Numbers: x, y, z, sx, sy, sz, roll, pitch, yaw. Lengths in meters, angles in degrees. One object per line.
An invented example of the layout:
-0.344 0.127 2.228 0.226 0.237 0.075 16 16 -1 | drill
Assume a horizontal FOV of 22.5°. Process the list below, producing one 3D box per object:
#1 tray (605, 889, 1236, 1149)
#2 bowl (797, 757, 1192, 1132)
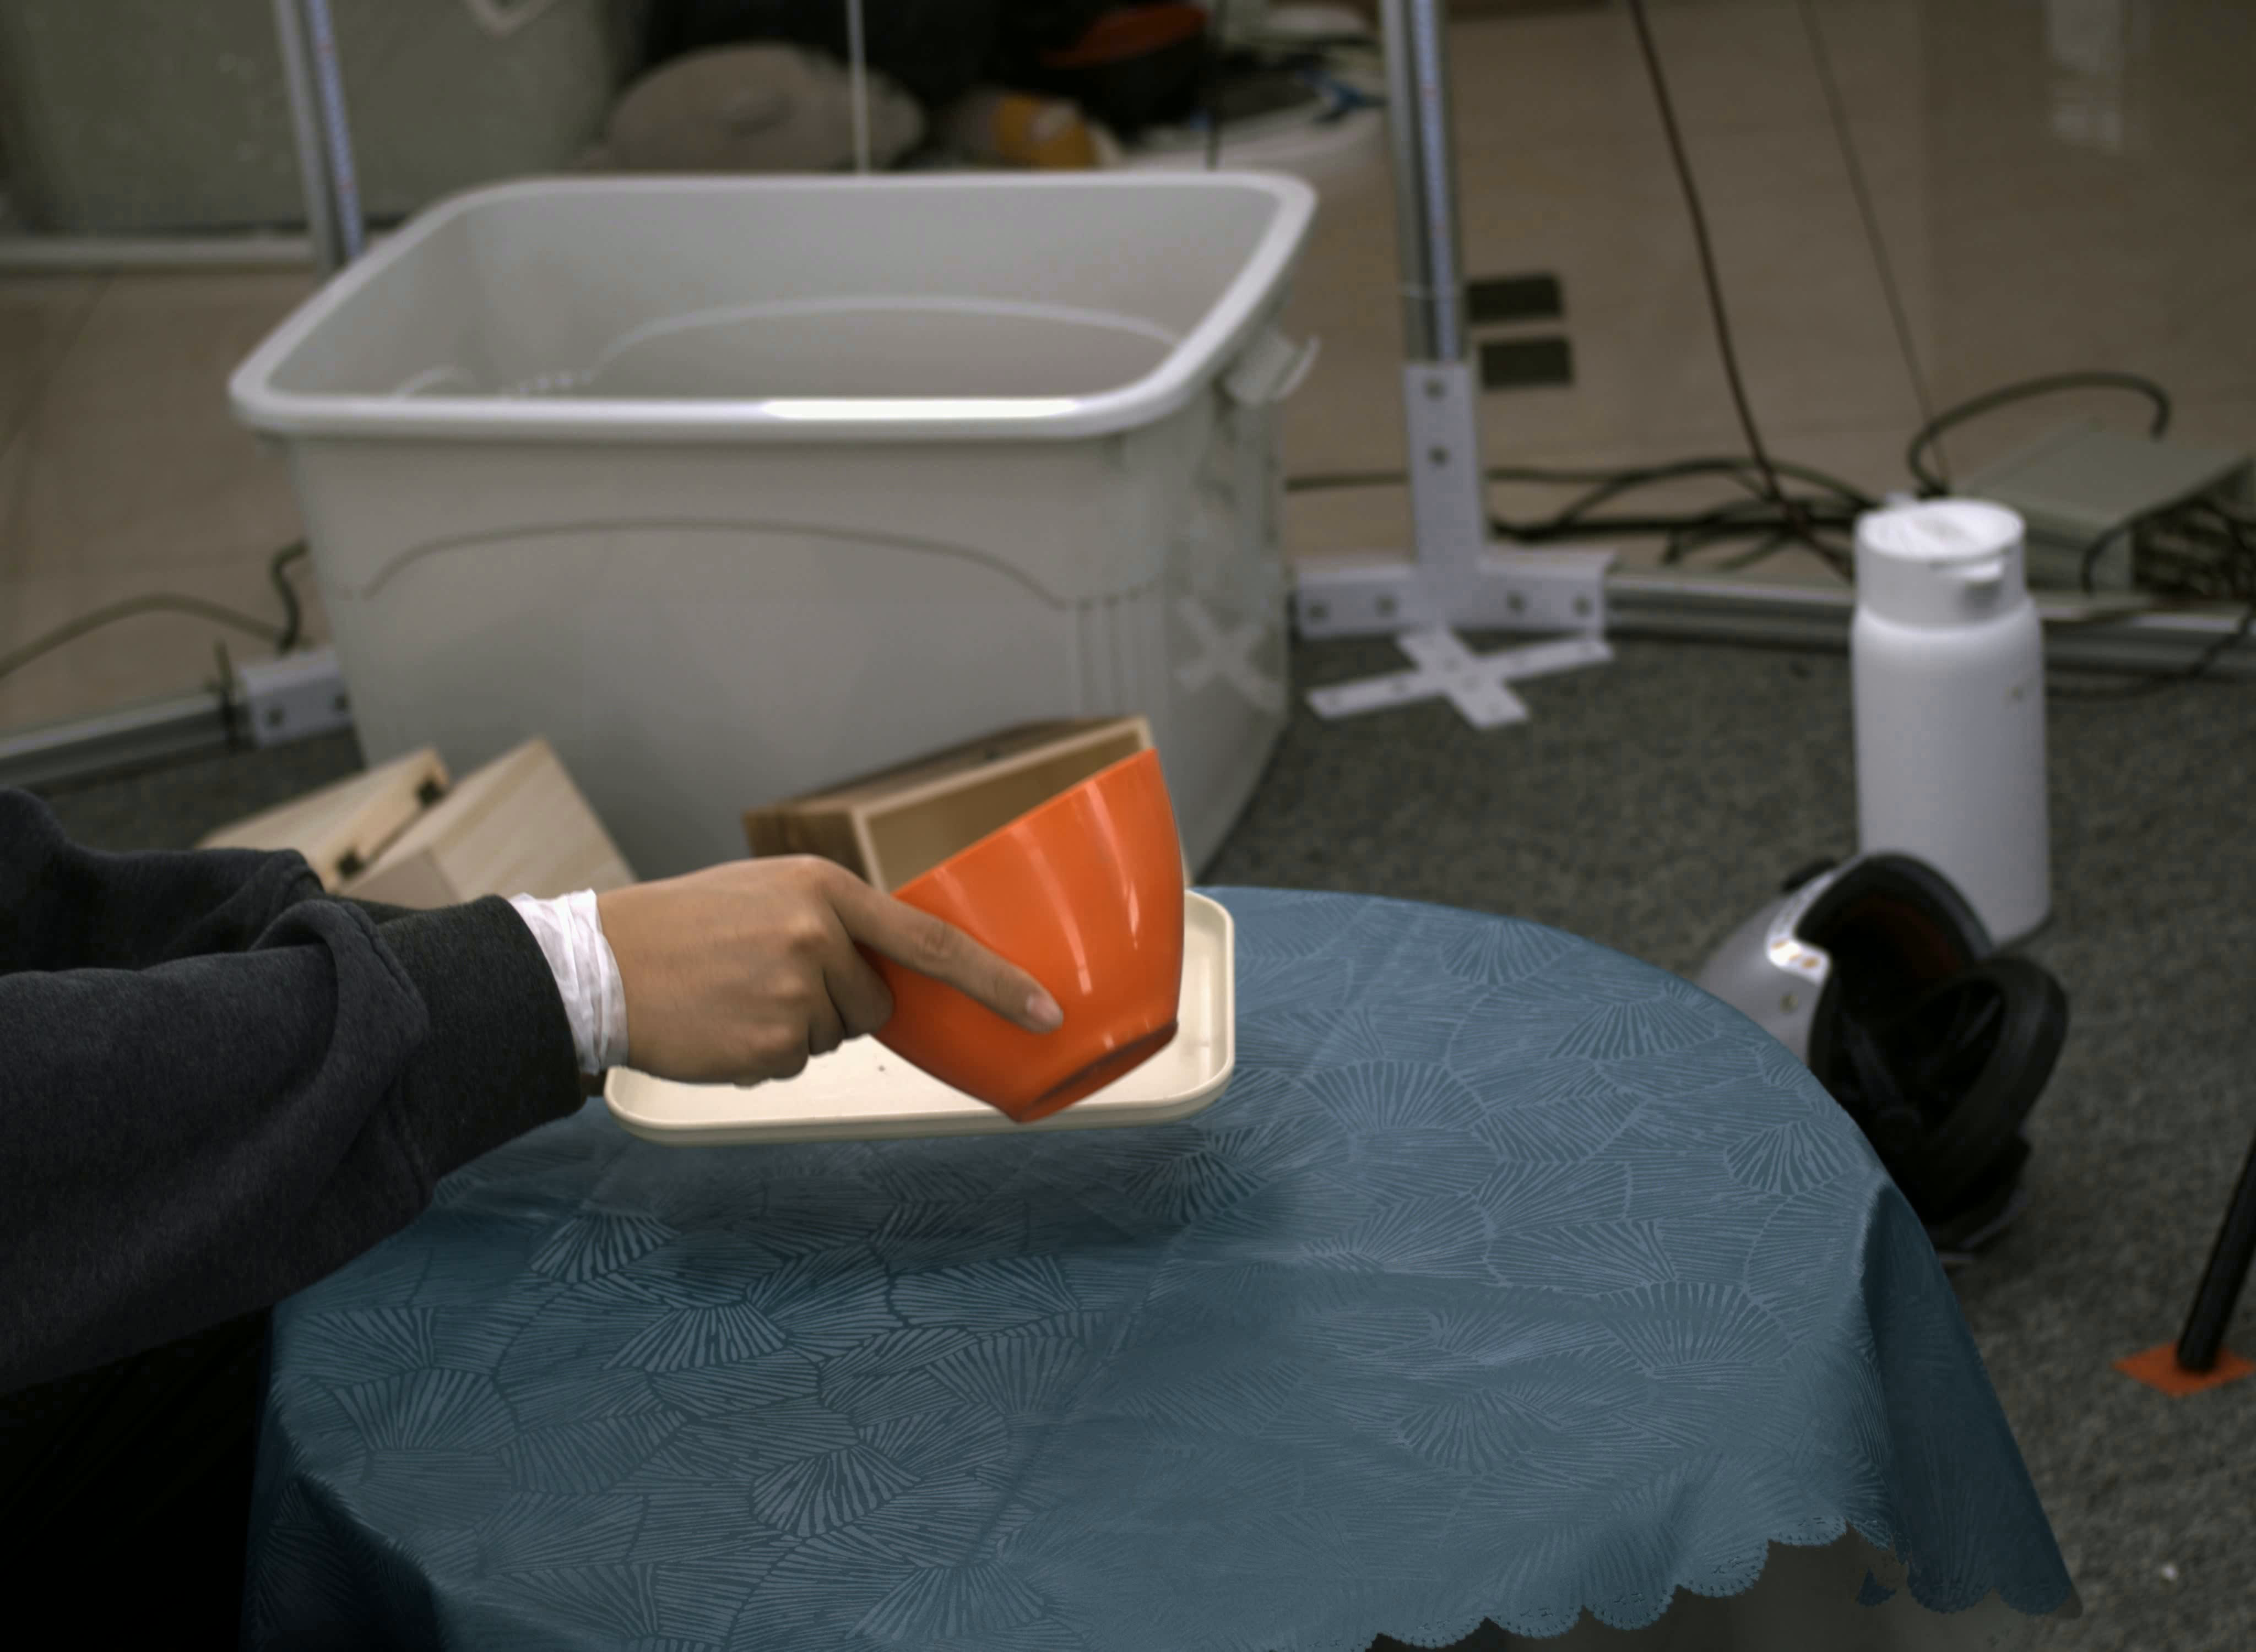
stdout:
-0.078 0.075 2.179 0.239 0.018 0.168 -3 28 2 | tray
-0.032 0.047 1.967 0.147 0.104 0.149 -28 -10 -5 | bowl
